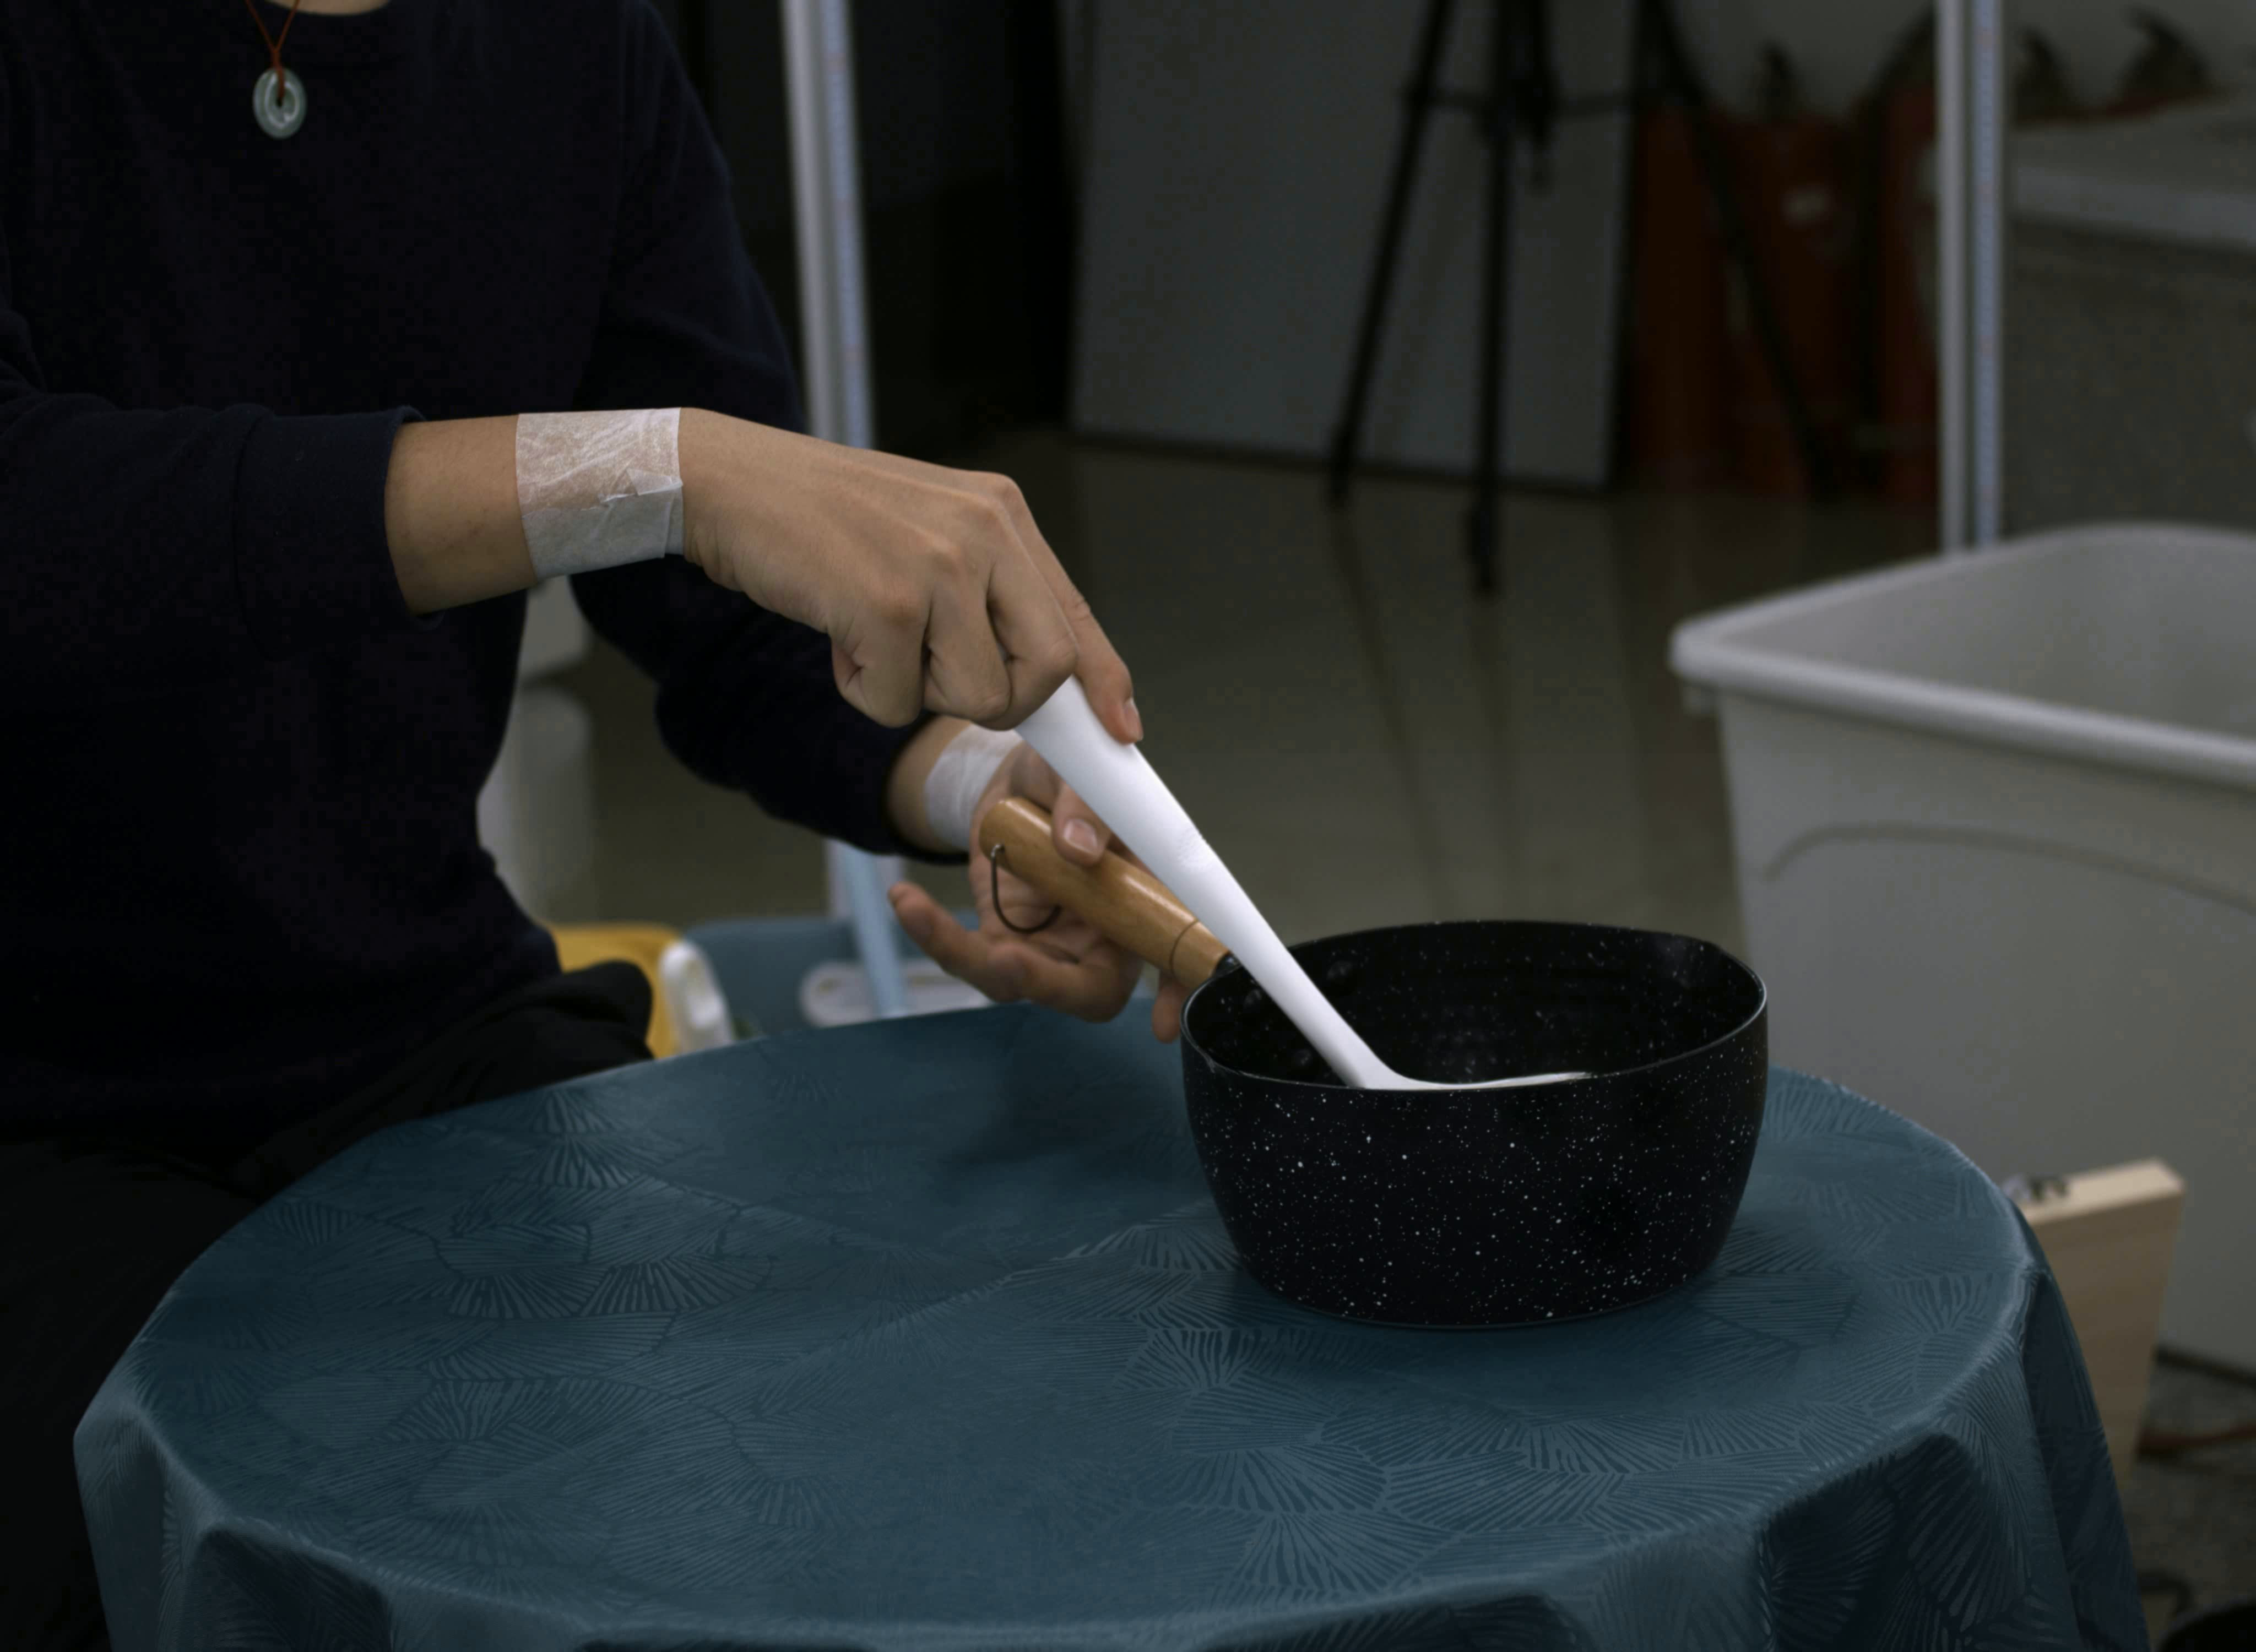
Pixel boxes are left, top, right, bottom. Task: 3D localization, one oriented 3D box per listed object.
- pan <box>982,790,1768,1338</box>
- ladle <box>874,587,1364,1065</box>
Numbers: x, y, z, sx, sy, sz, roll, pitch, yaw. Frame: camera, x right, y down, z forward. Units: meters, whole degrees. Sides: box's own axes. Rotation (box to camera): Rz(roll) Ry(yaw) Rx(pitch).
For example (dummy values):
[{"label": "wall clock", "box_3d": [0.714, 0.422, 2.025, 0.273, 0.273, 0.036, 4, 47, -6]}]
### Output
[{"label": "pan", "box_3d": [0.059, 0.070, 1.735, 0.203, 0.109, 0.346, -15, 19, -35]}, {"label": "ladle", "box_3d": [0.042, 0.031, 1.661, 0.089, 0.293, 0.070, -45, -1, -38]}]
